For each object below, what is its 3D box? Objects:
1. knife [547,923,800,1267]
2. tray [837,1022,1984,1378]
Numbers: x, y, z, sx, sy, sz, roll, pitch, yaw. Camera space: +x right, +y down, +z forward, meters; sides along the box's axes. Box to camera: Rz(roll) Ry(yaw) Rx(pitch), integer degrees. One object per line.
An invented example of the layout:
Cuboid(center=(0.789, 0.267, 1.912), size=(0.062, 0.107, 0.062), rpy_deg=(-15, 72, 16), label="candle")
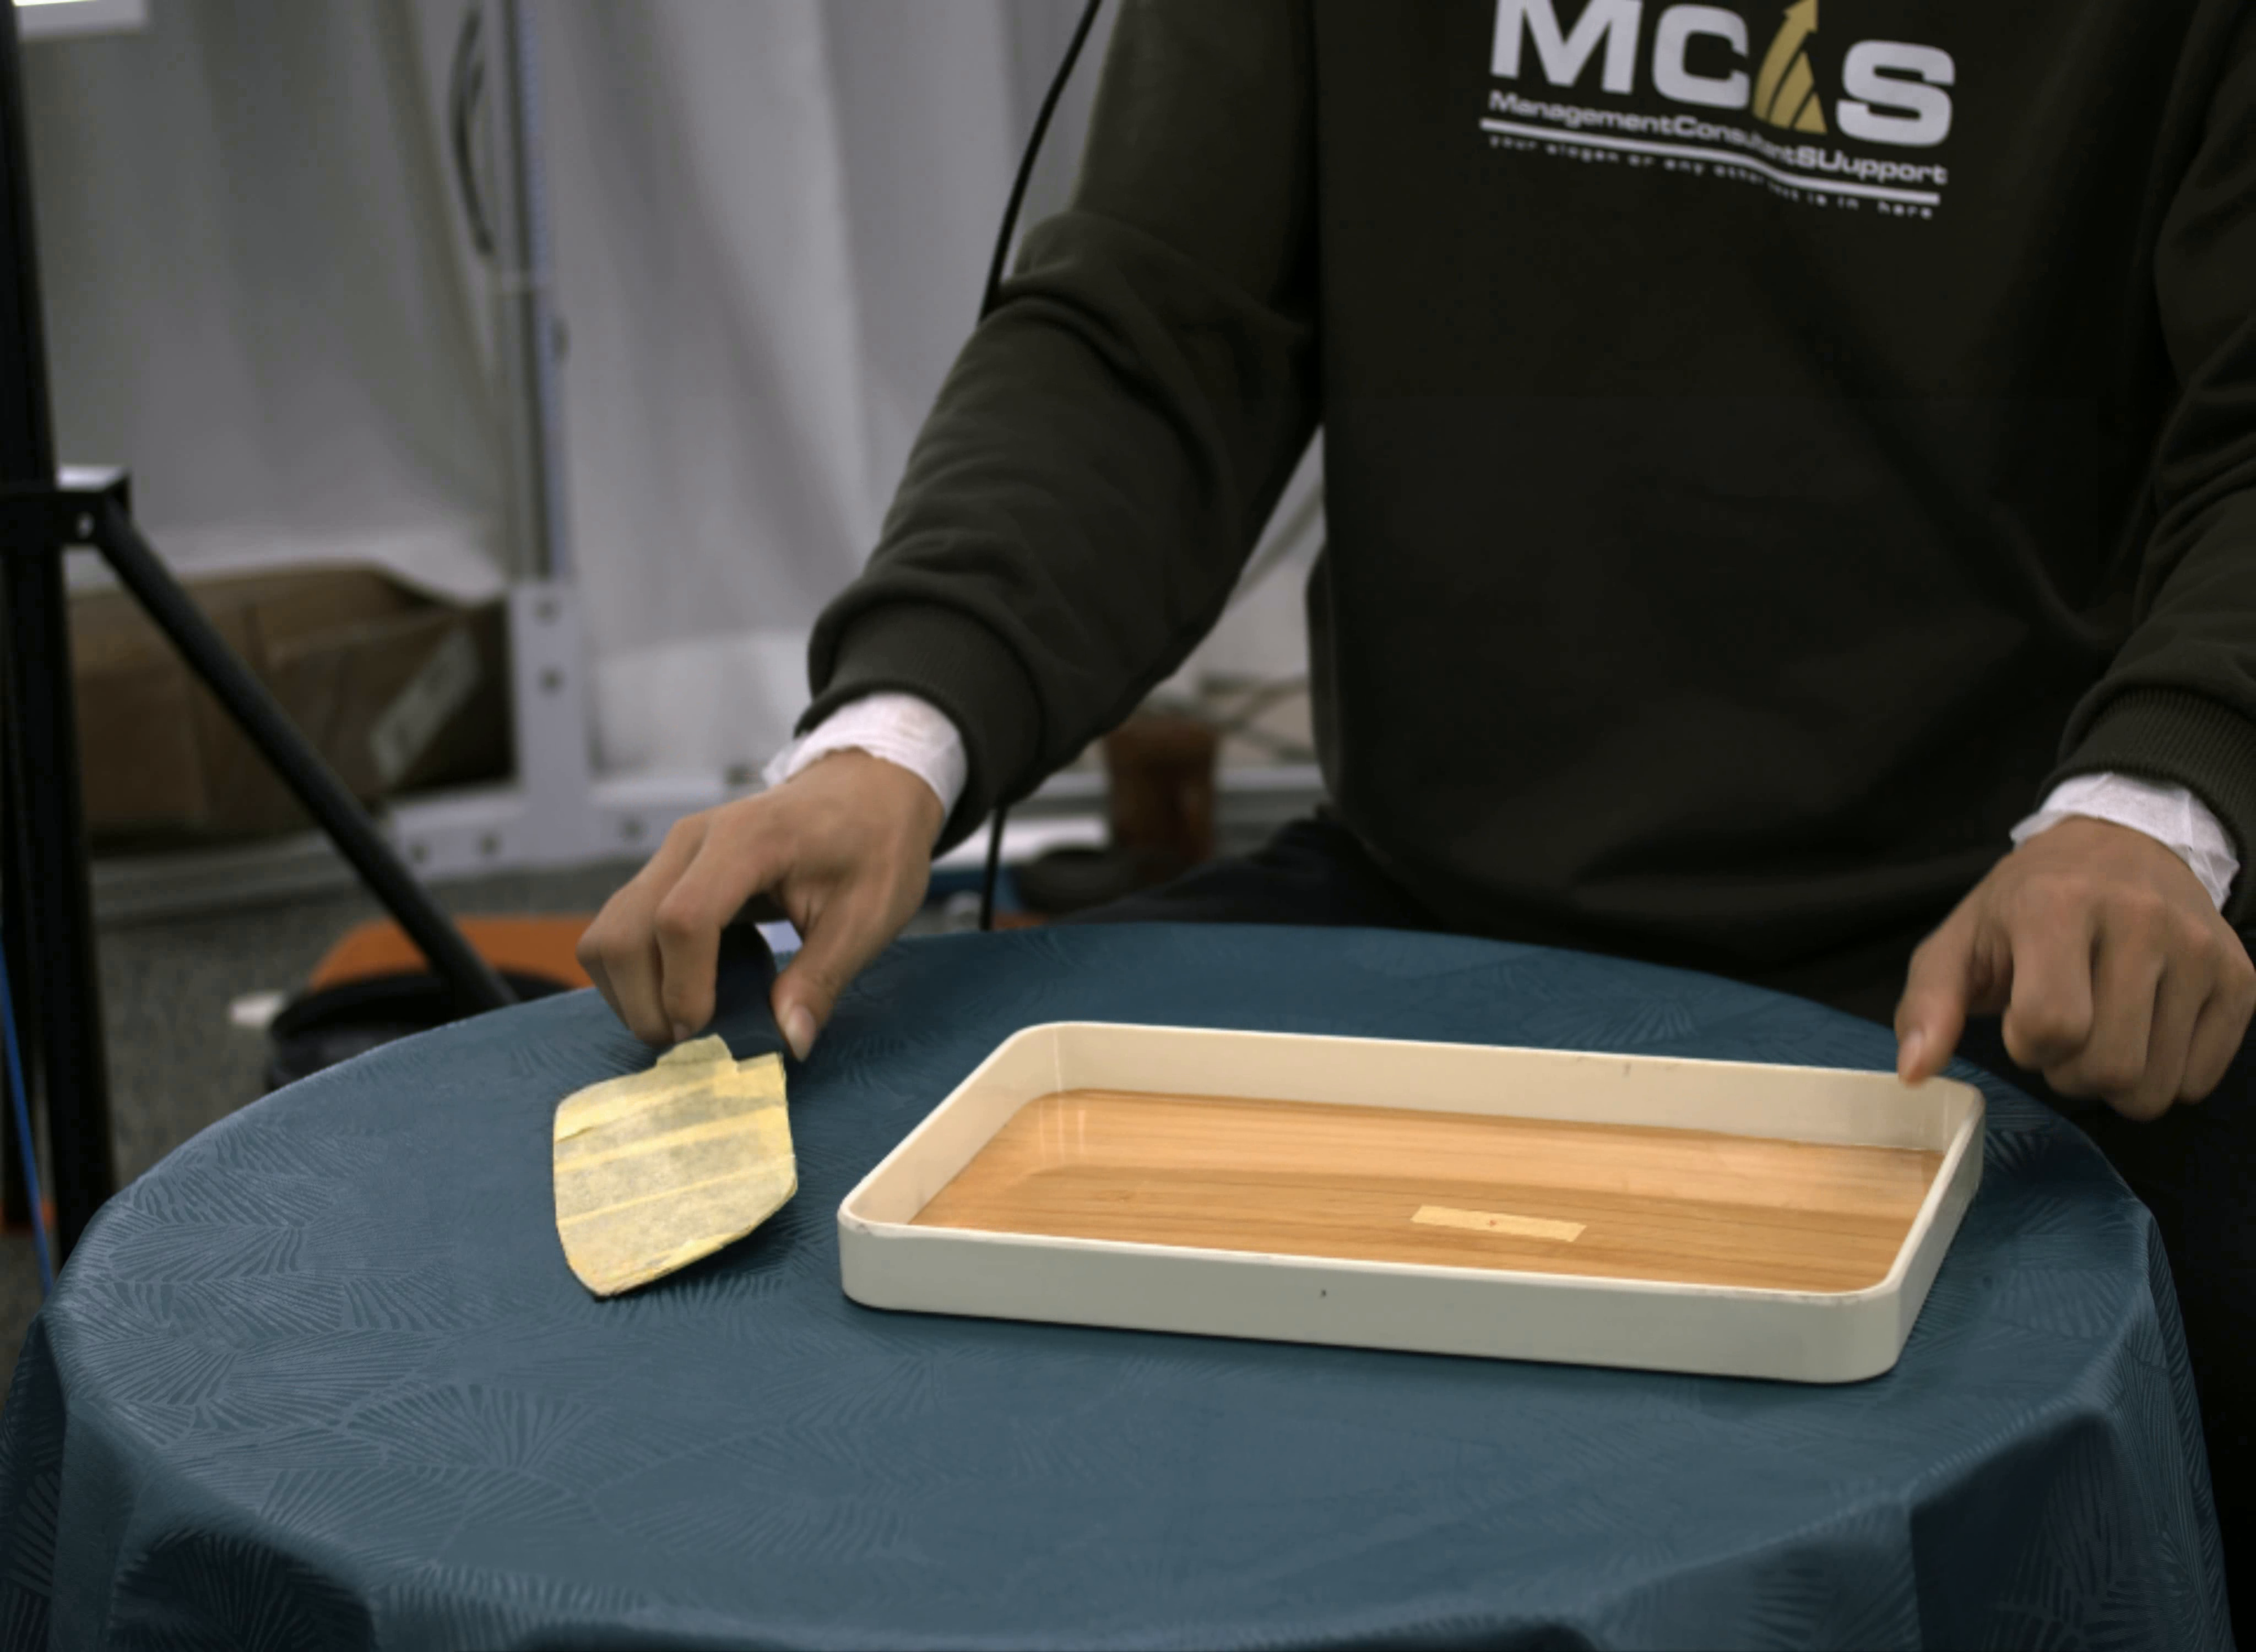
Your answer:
Cuboid(center=(-0.139, 0.082, 1.634), size=(0.081, 0.027, 0.291), rpy_deg=(-12, 17, 1), label="knife")
Cuboid(center=(0.084, 0.104, 1.513), size=(0.303, 0.027, 0.189), rpy_deg=(3, 16, 19), label="tray")
